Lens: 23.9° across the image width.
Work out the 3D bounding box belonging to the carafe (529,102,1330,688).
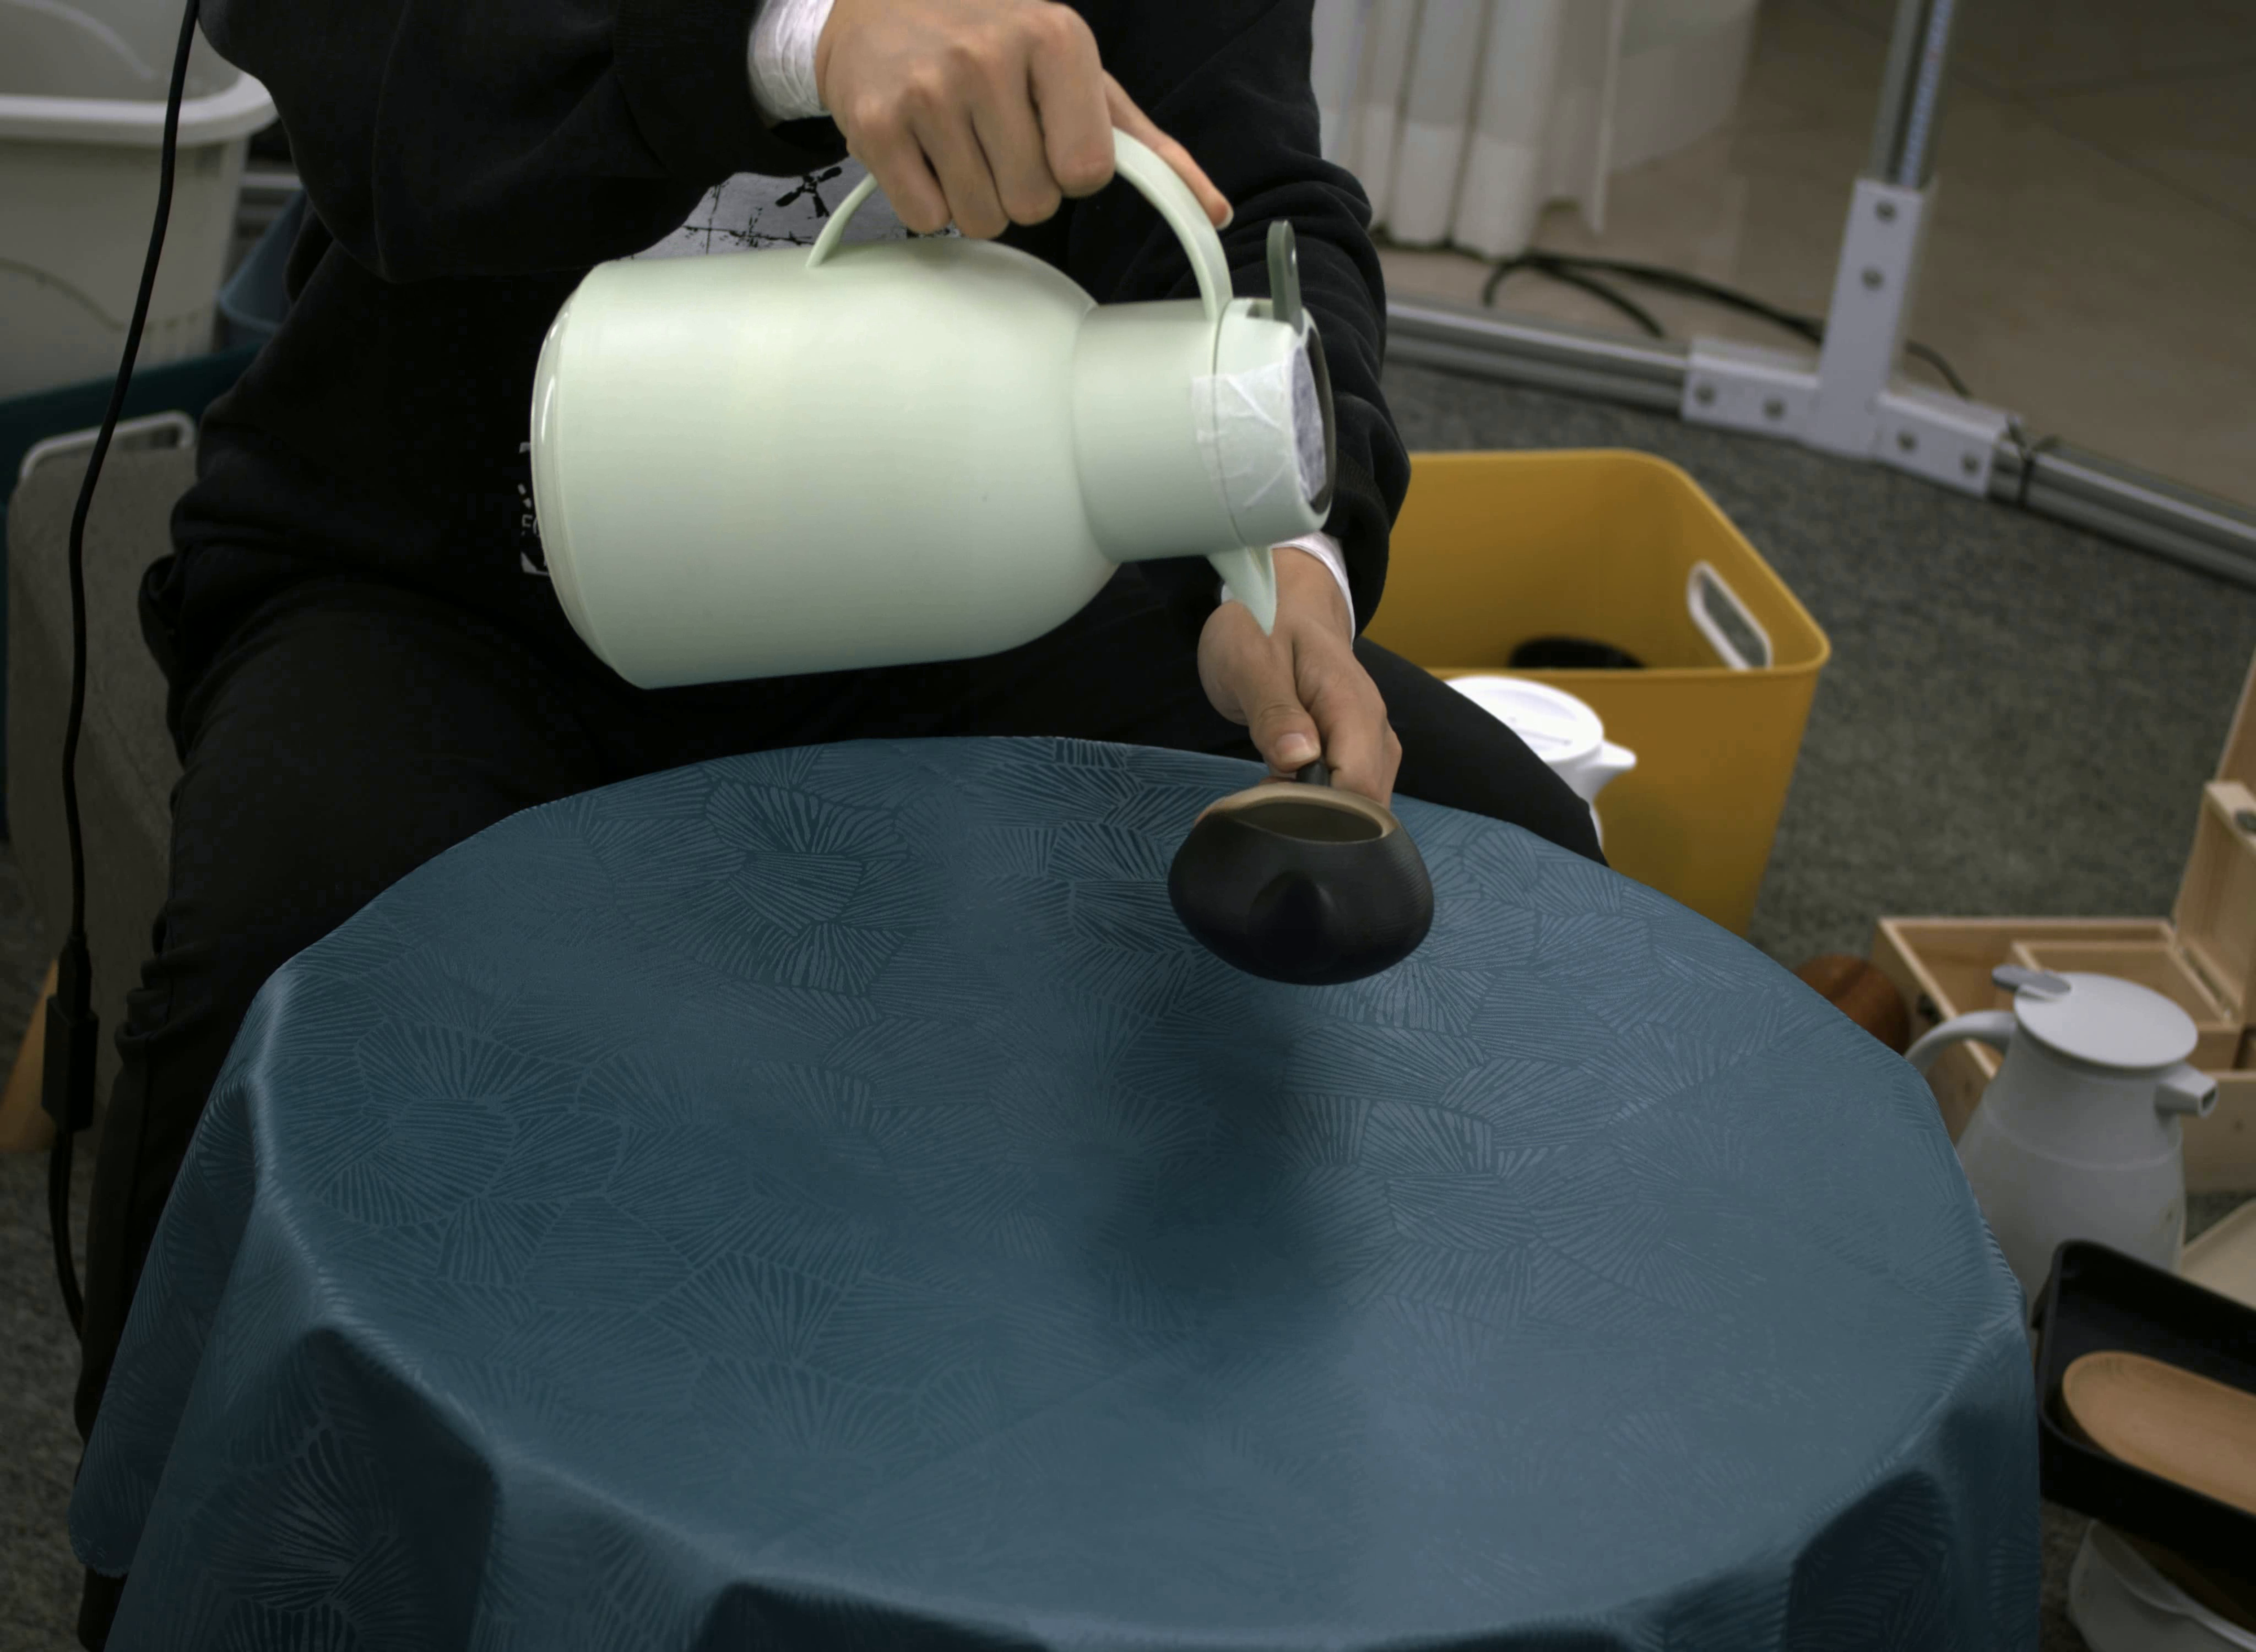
[{"bbox_3d":[-0.064,-0.141,1.774,0.257,0.186,0.144,-7,19,17],"label":"carafe"}]

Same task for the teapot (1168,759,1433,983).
[{"bbox_3d":[0.059,0.019,1.802,0.091,0.053,0.133,9,21,1],"label":"teapot"}]
